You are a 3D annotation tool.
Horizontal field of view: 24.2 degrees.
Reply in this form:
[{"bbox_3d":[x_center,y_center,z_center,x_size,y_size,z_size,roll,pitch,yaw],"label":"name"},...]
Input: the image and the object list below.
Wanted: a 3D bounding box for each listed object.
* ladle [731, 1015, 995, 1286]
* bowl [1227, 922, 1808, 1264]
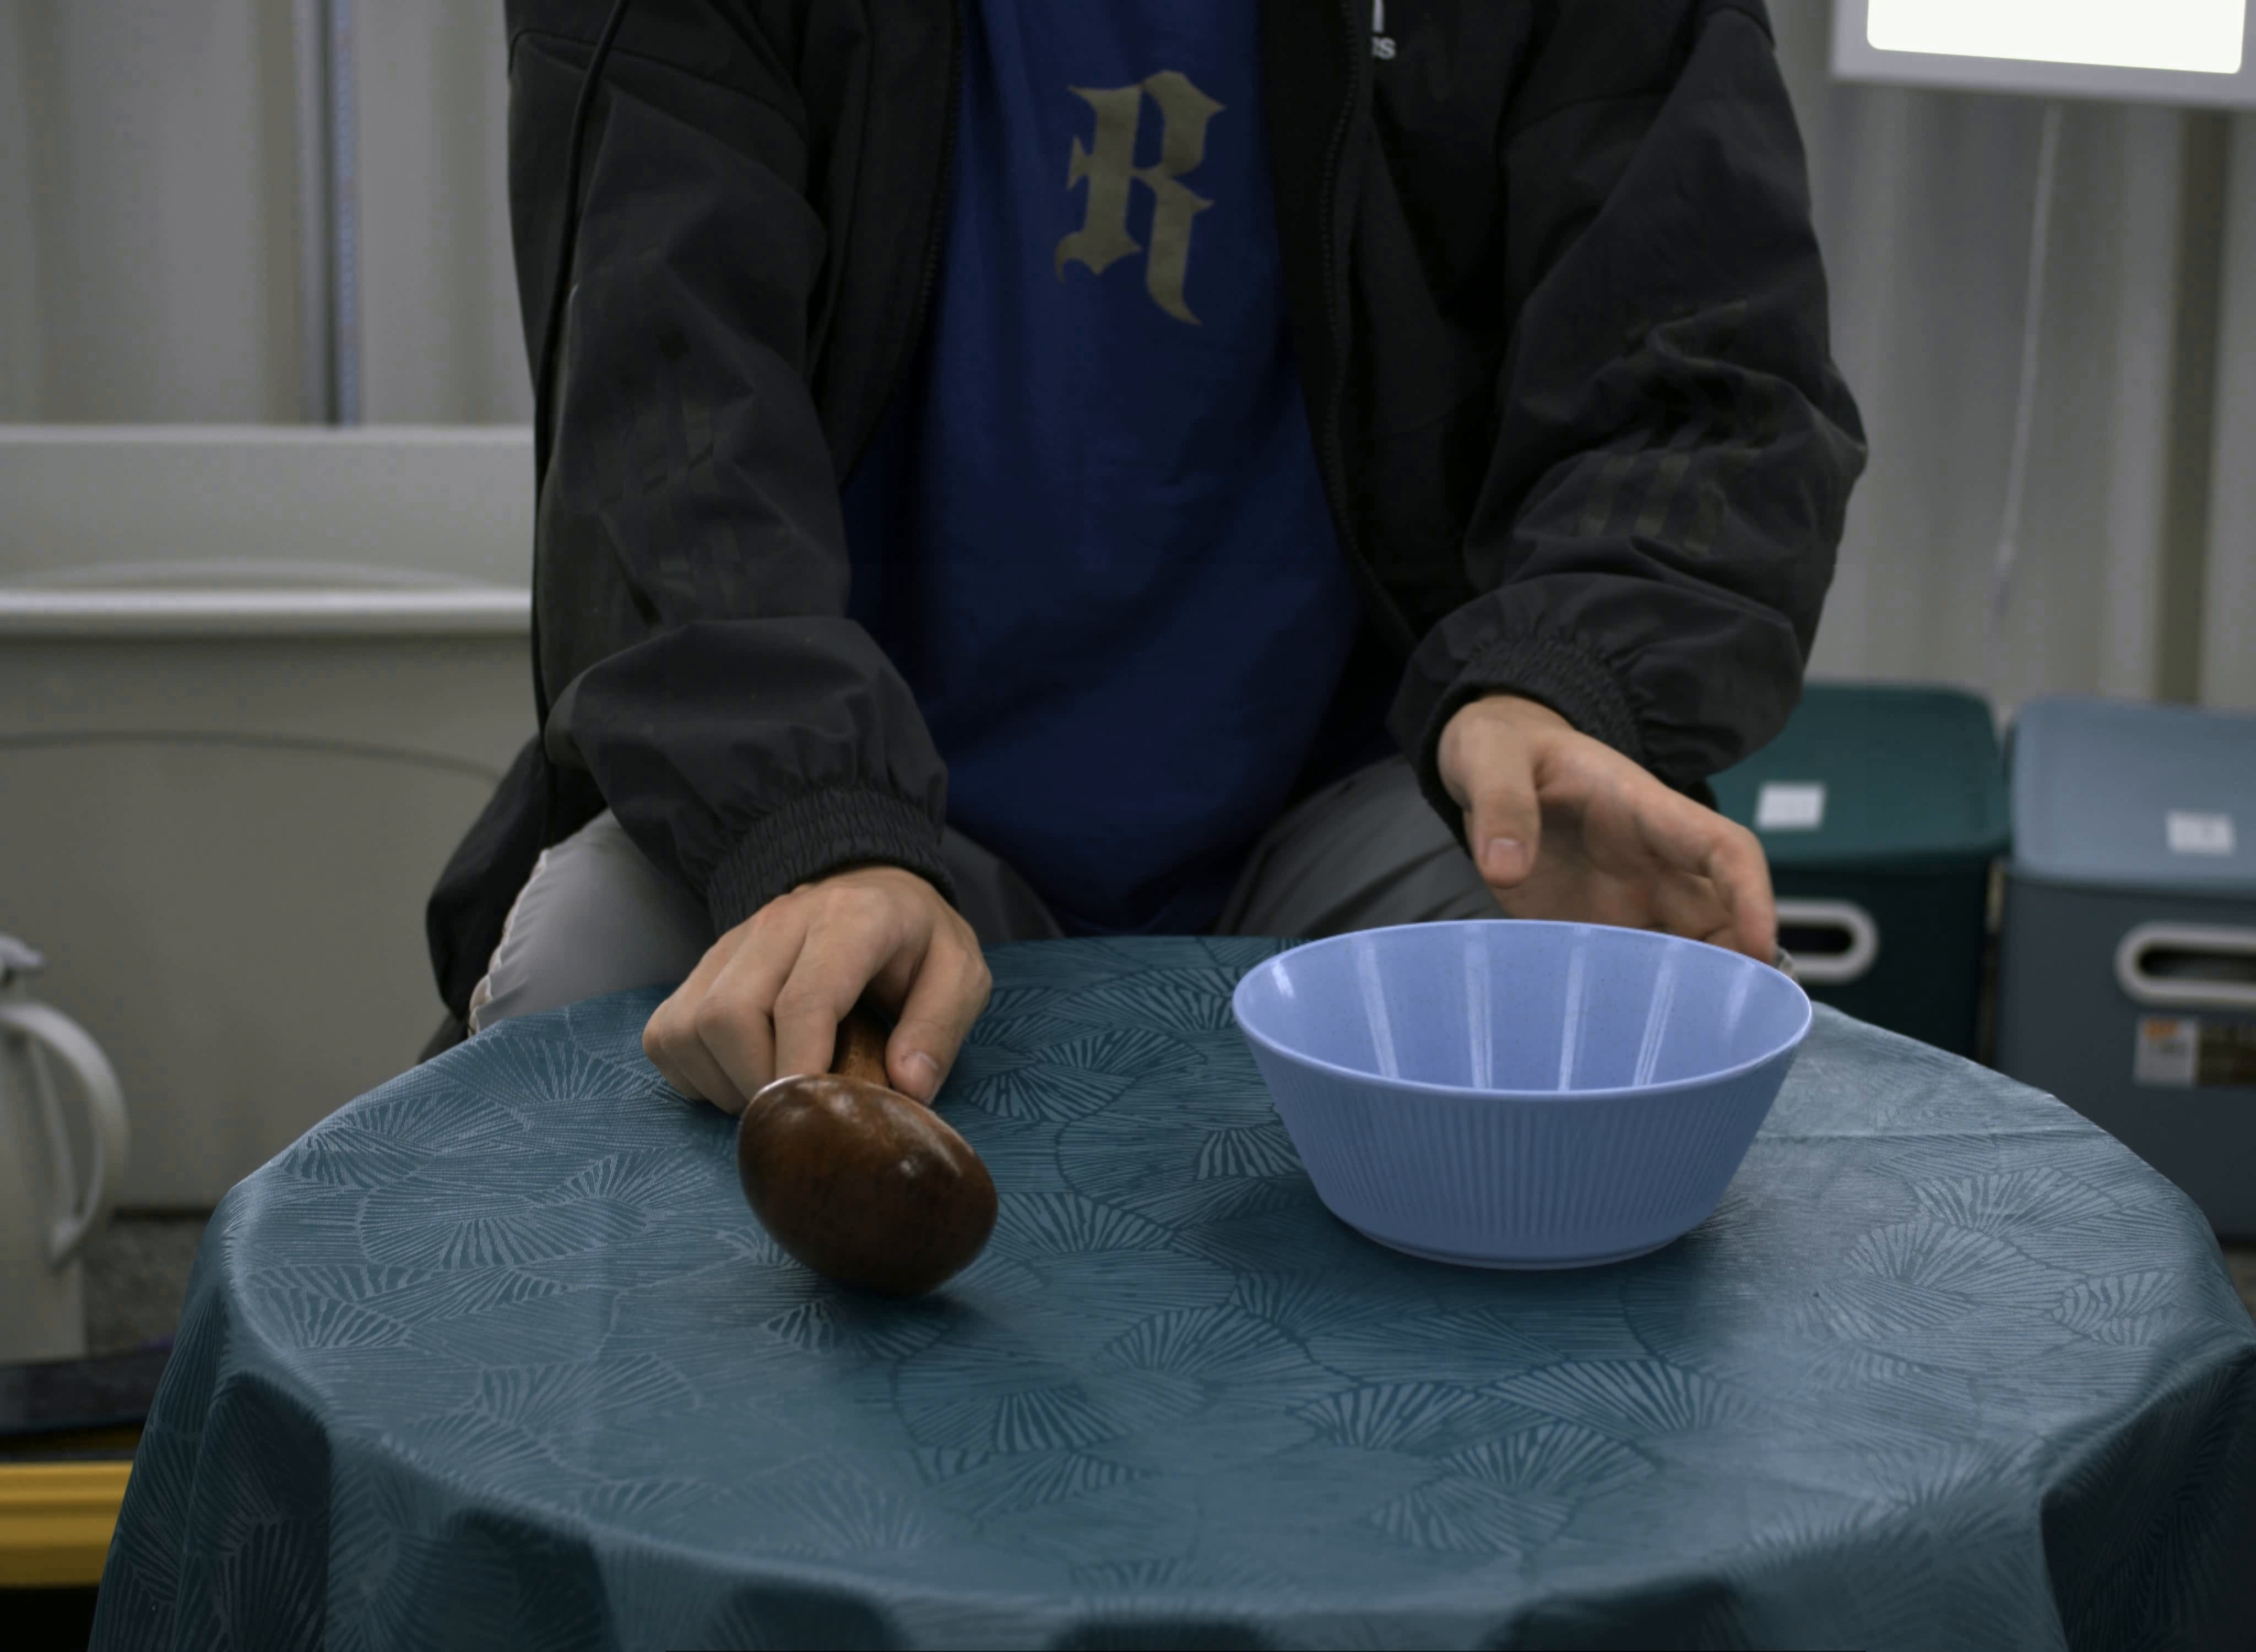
[{"bbox_3d":[-0.072,0.077,1.617,0.082,0.076,0.273,43,13,-6],"label":"ladle"},{"bbox_3d":[0.117,0.083,1.599,0.175,0.071,0.175,1,15,0],"label":"bowl"}]
